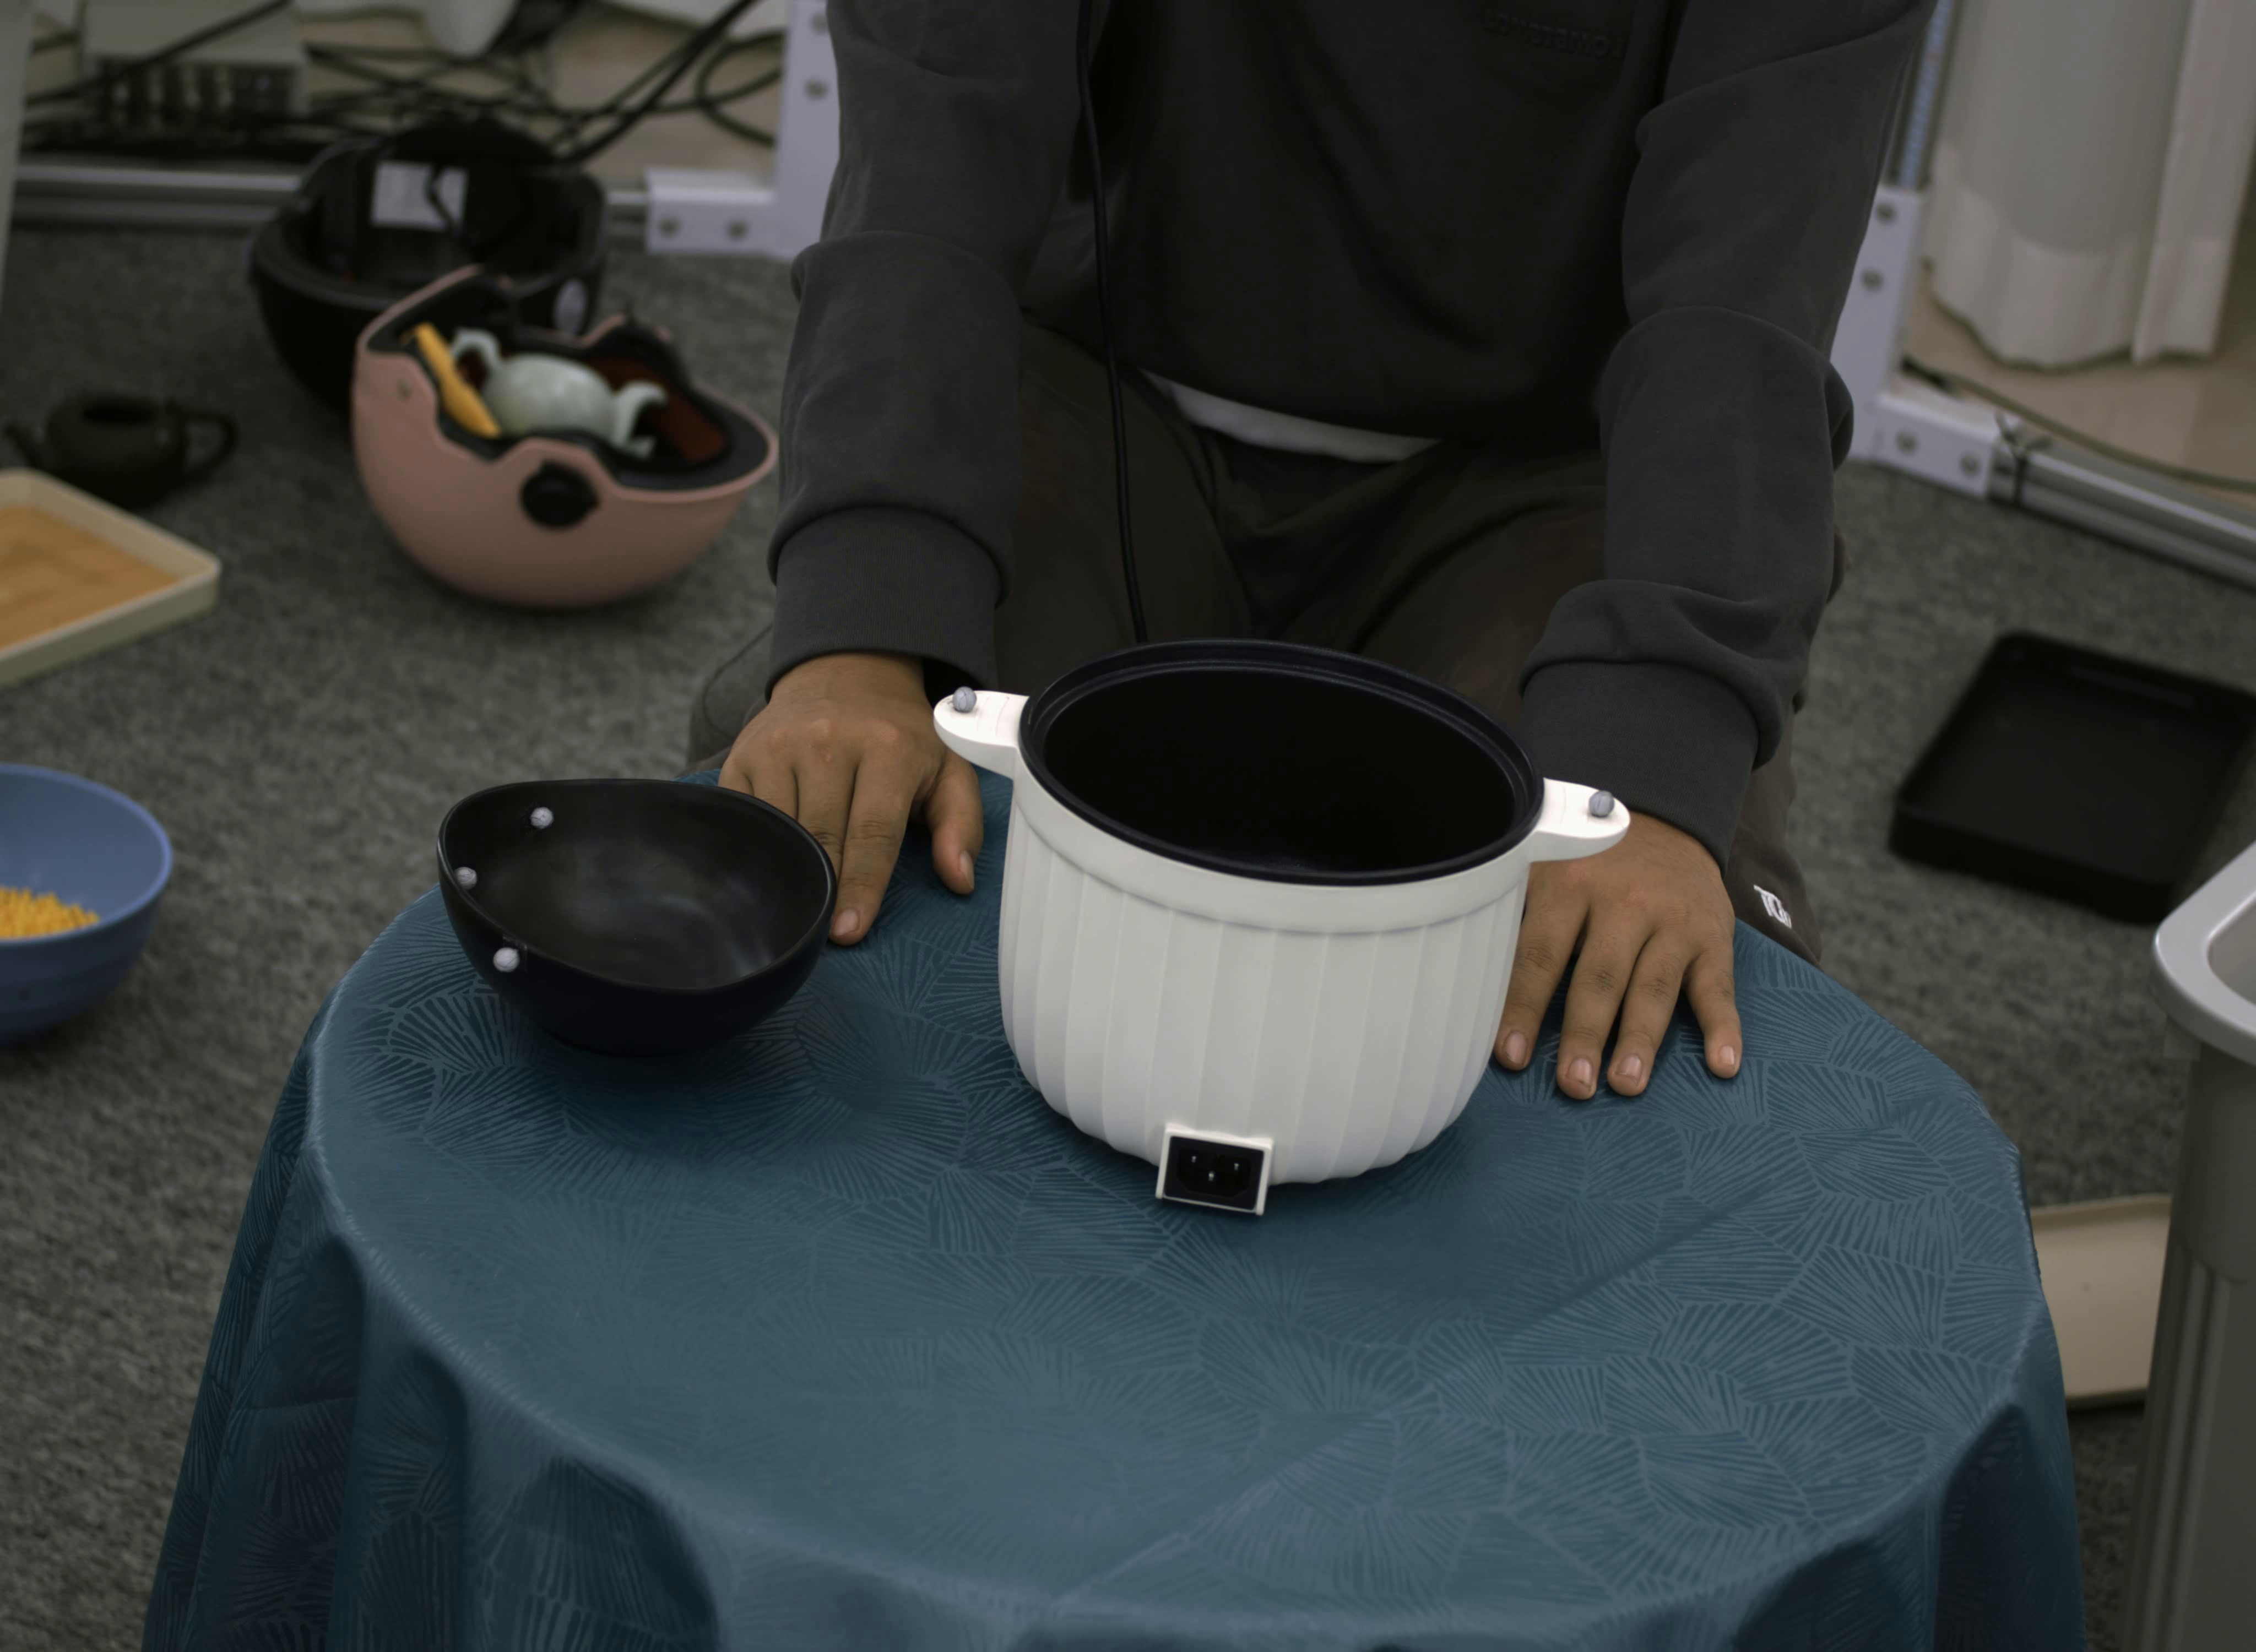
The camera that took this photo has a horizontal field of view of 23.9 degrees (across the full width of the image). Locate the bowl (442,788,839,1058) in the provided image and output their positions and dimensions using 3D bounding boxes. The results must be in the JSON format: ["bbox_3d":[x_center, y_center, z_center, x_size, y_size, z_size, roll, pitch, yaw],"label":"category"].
[{"bbox_3d":[-0.173,0.038,1.863,0.136,0.066,0.172,-1,26,-17],"label":"bowl"}]

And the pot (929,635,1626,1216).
[{"bbox_3d":[0.043,0.031,1.847,0.240,0.142,0.191,10,30,2],"label":"pot"}]
